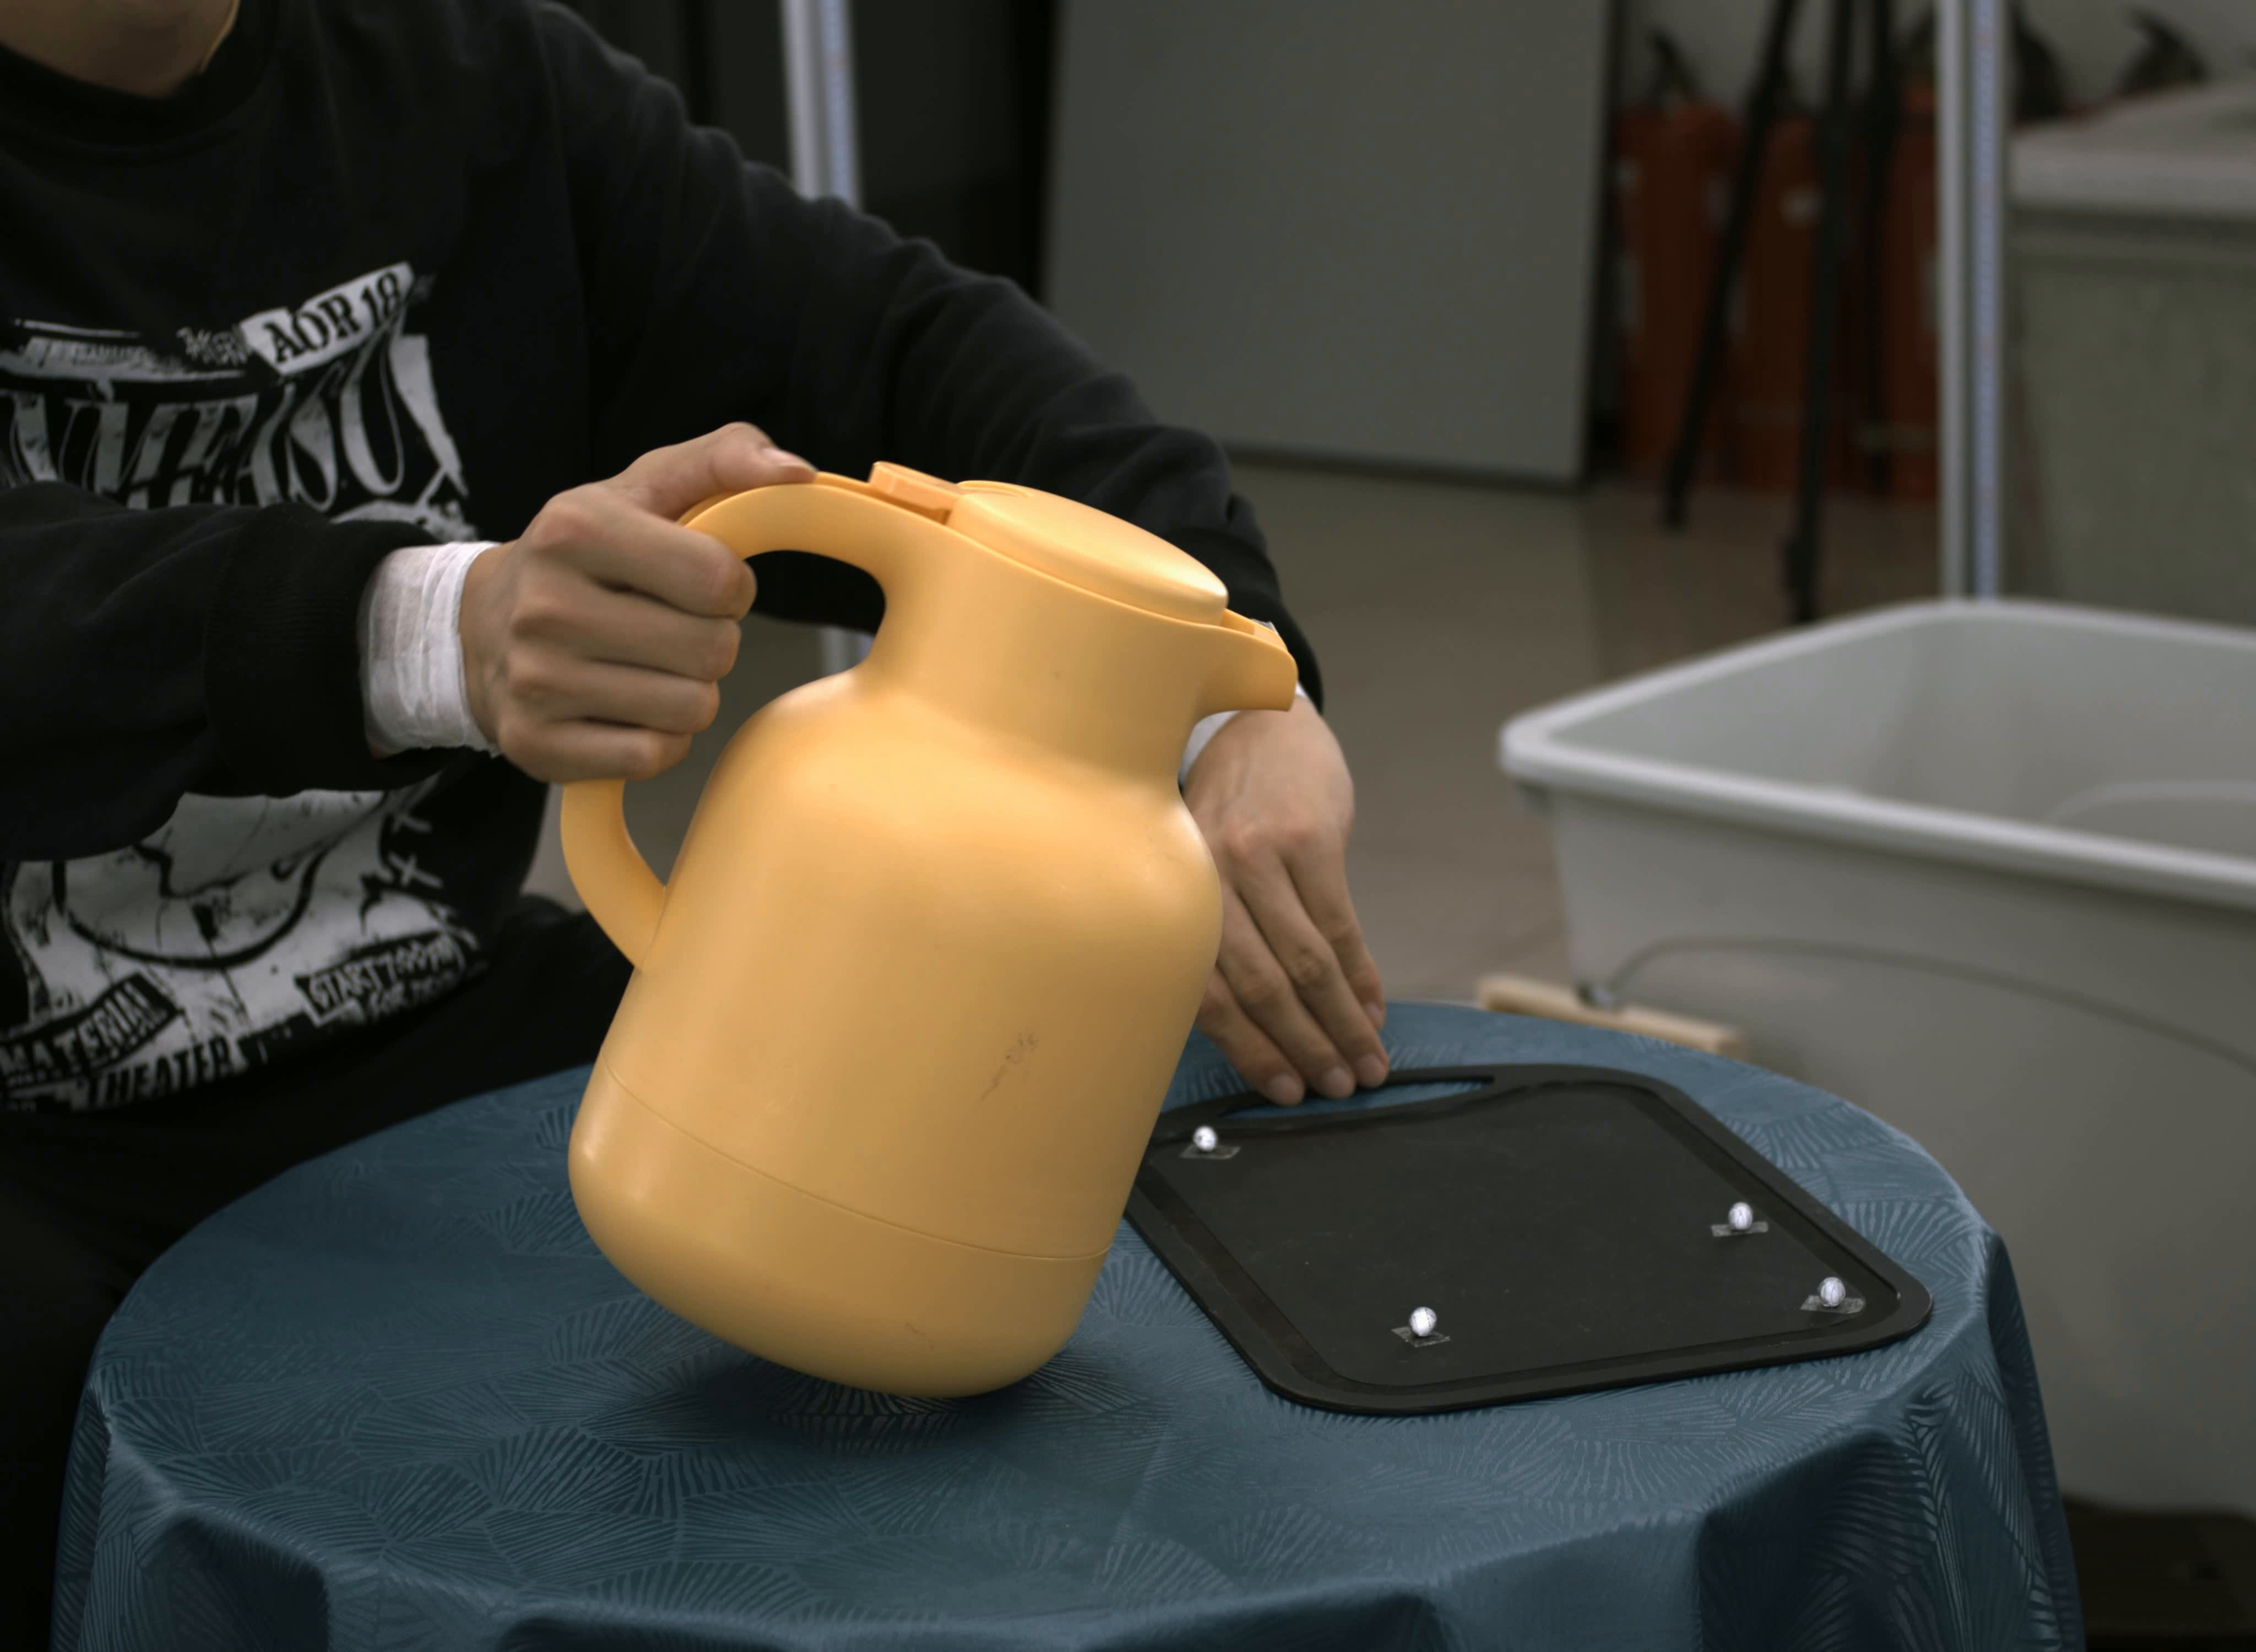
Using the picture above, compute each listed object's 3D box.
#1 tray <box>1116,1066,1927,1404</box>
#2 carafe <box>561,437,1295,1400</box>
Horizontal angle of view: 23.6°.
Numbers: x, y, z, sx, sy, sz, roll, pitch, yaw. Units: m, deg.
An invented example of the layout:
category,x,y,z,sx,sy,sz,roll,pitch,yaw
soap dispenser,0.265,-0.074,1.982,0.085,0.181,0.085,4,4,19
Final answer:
category,x,y,z,sx,sy,sz,roll,pitch,yaw
tray,0.111,0.123,1.717,0.207,0.010,0.327,-7,14,-11
carafe,-0.073,0.019,1.582,0.200,0.263,0.164,20,7,-5
